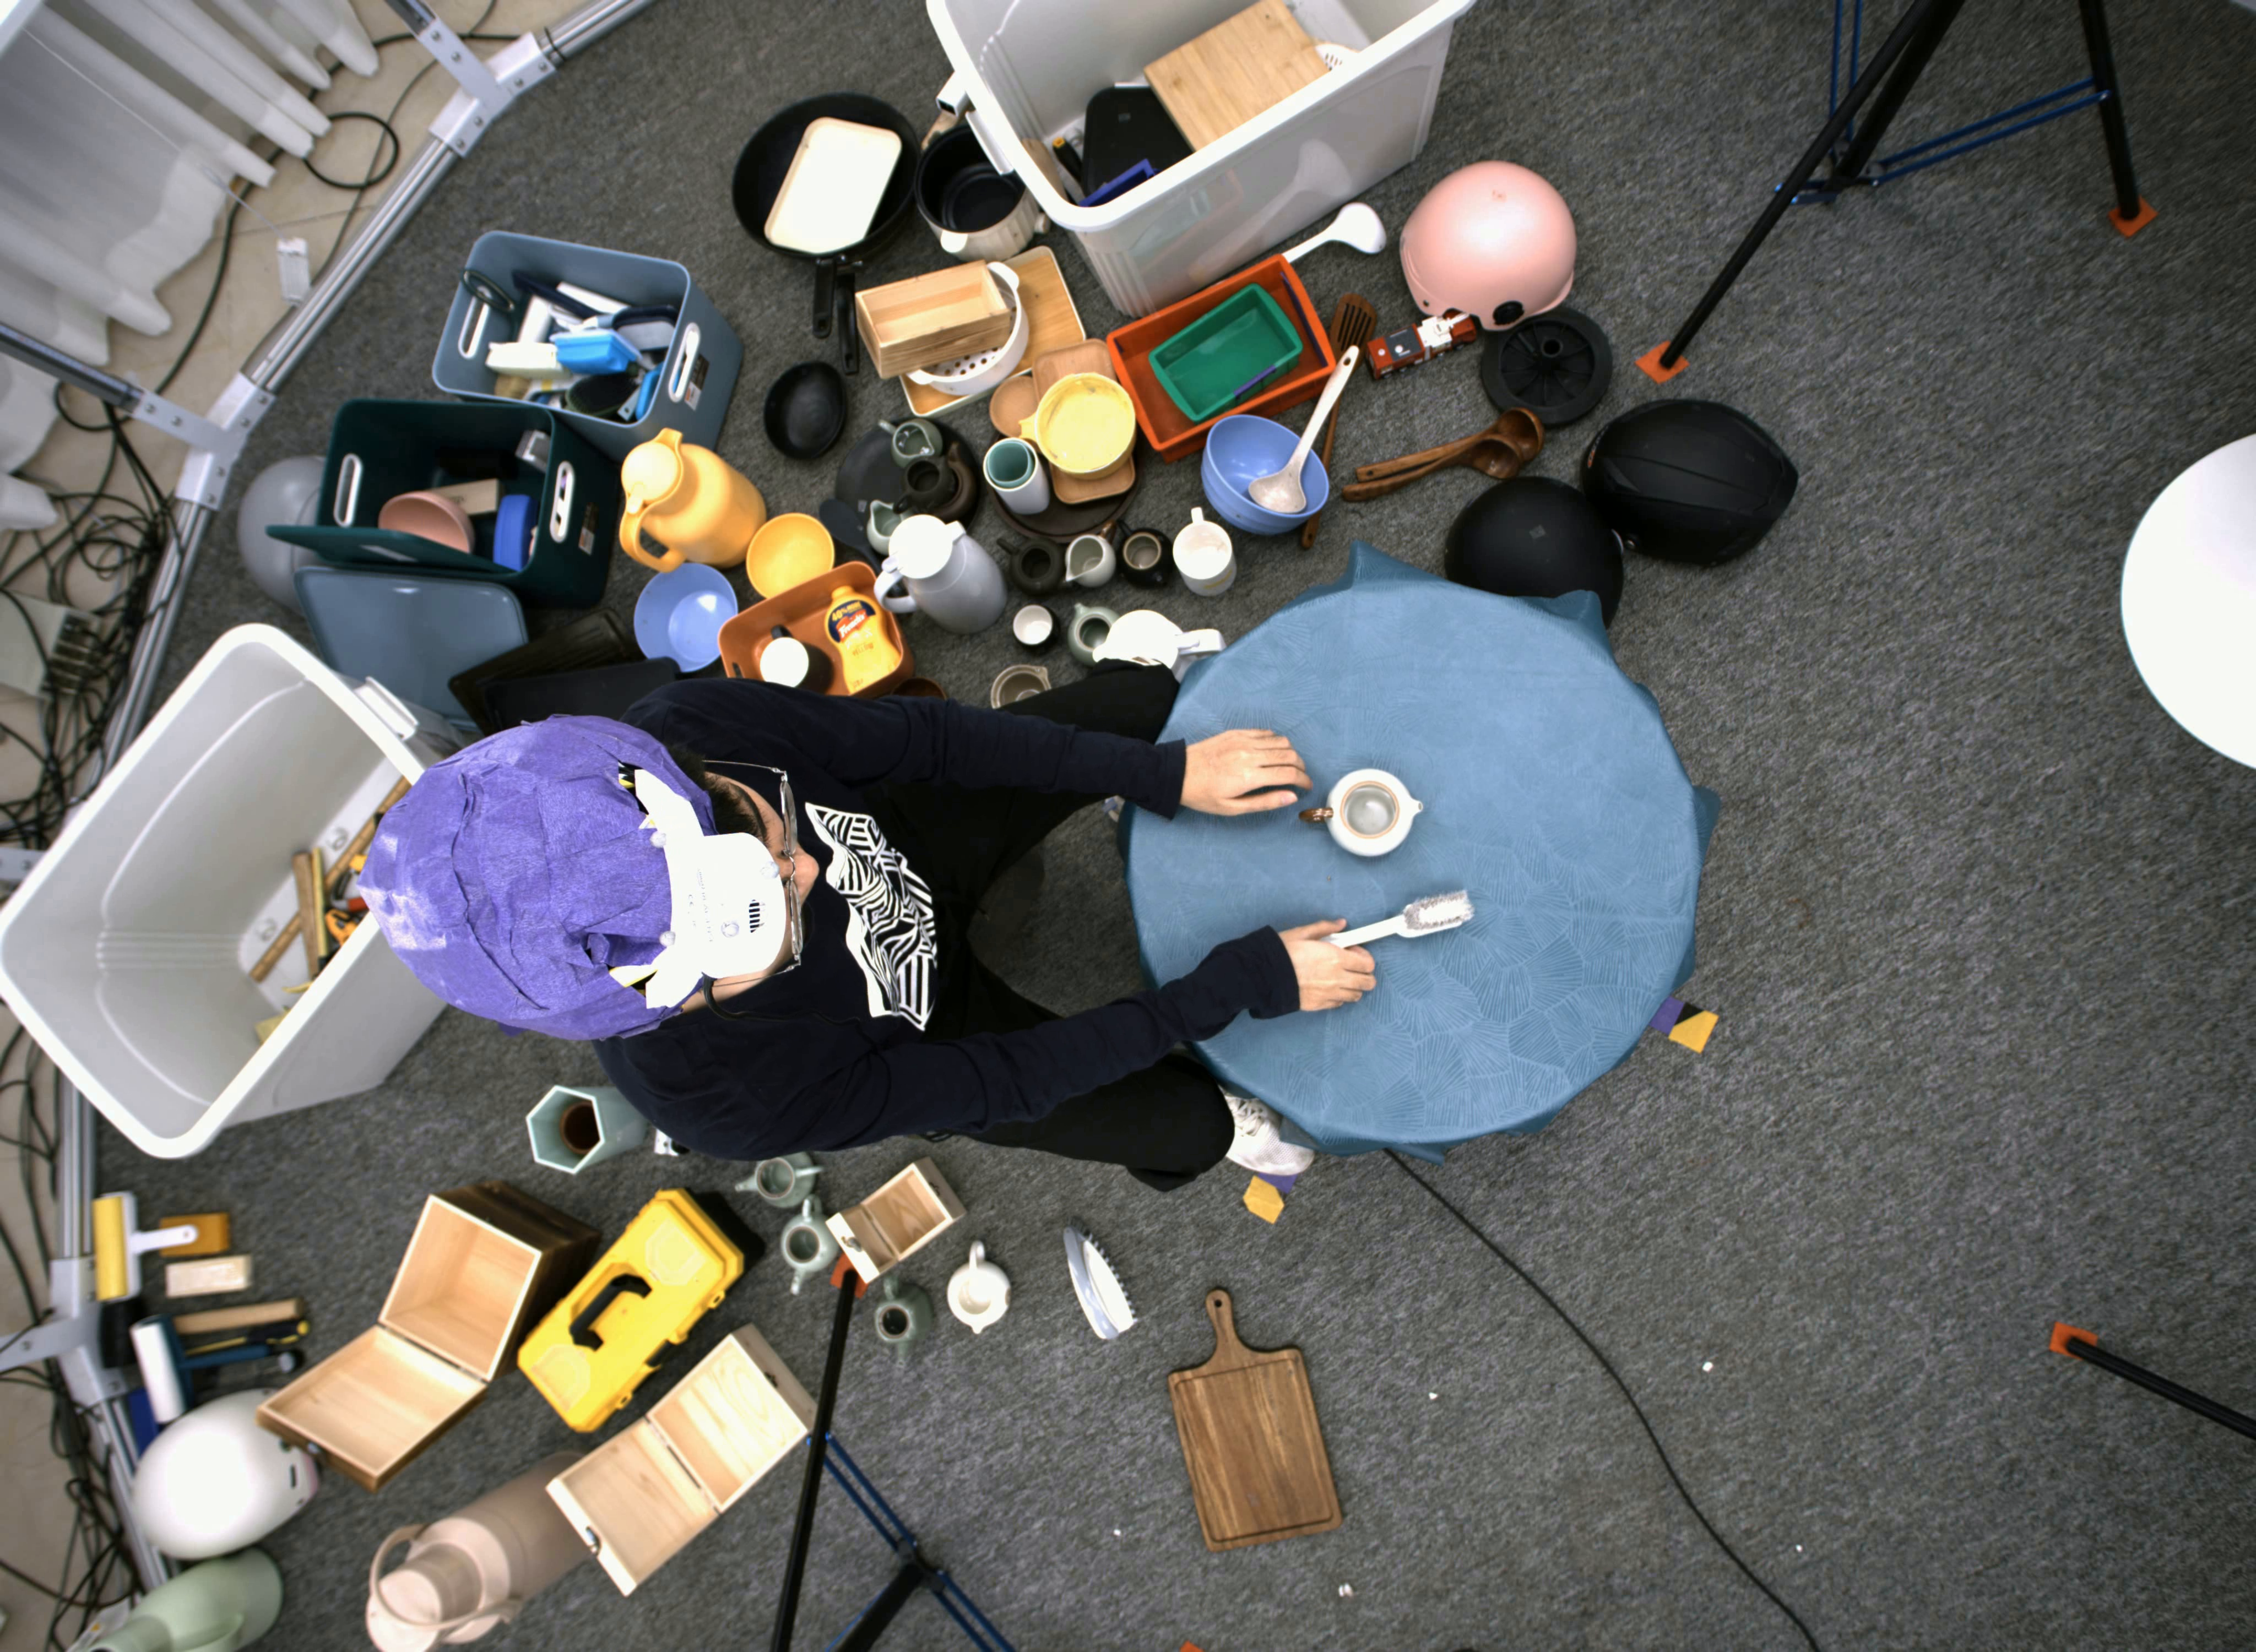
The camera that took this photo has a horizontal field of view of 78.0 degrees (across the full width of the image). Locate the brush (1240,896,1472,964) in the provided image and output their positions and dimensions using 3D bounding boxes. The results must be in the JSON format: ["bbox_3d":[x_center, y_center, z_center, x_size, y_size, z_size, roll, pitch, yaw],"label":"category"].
[{"bbox_3d":[0.234,0.110,1.437,0.245,0.050,0.034,-12,86,8],"label":"brush"}]

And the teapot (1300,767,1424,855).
[{"bbox_3d":[0.243,-0.016,1.440,0.128,0.059,0.091,-6,88,10],"label":"teapot"}]
